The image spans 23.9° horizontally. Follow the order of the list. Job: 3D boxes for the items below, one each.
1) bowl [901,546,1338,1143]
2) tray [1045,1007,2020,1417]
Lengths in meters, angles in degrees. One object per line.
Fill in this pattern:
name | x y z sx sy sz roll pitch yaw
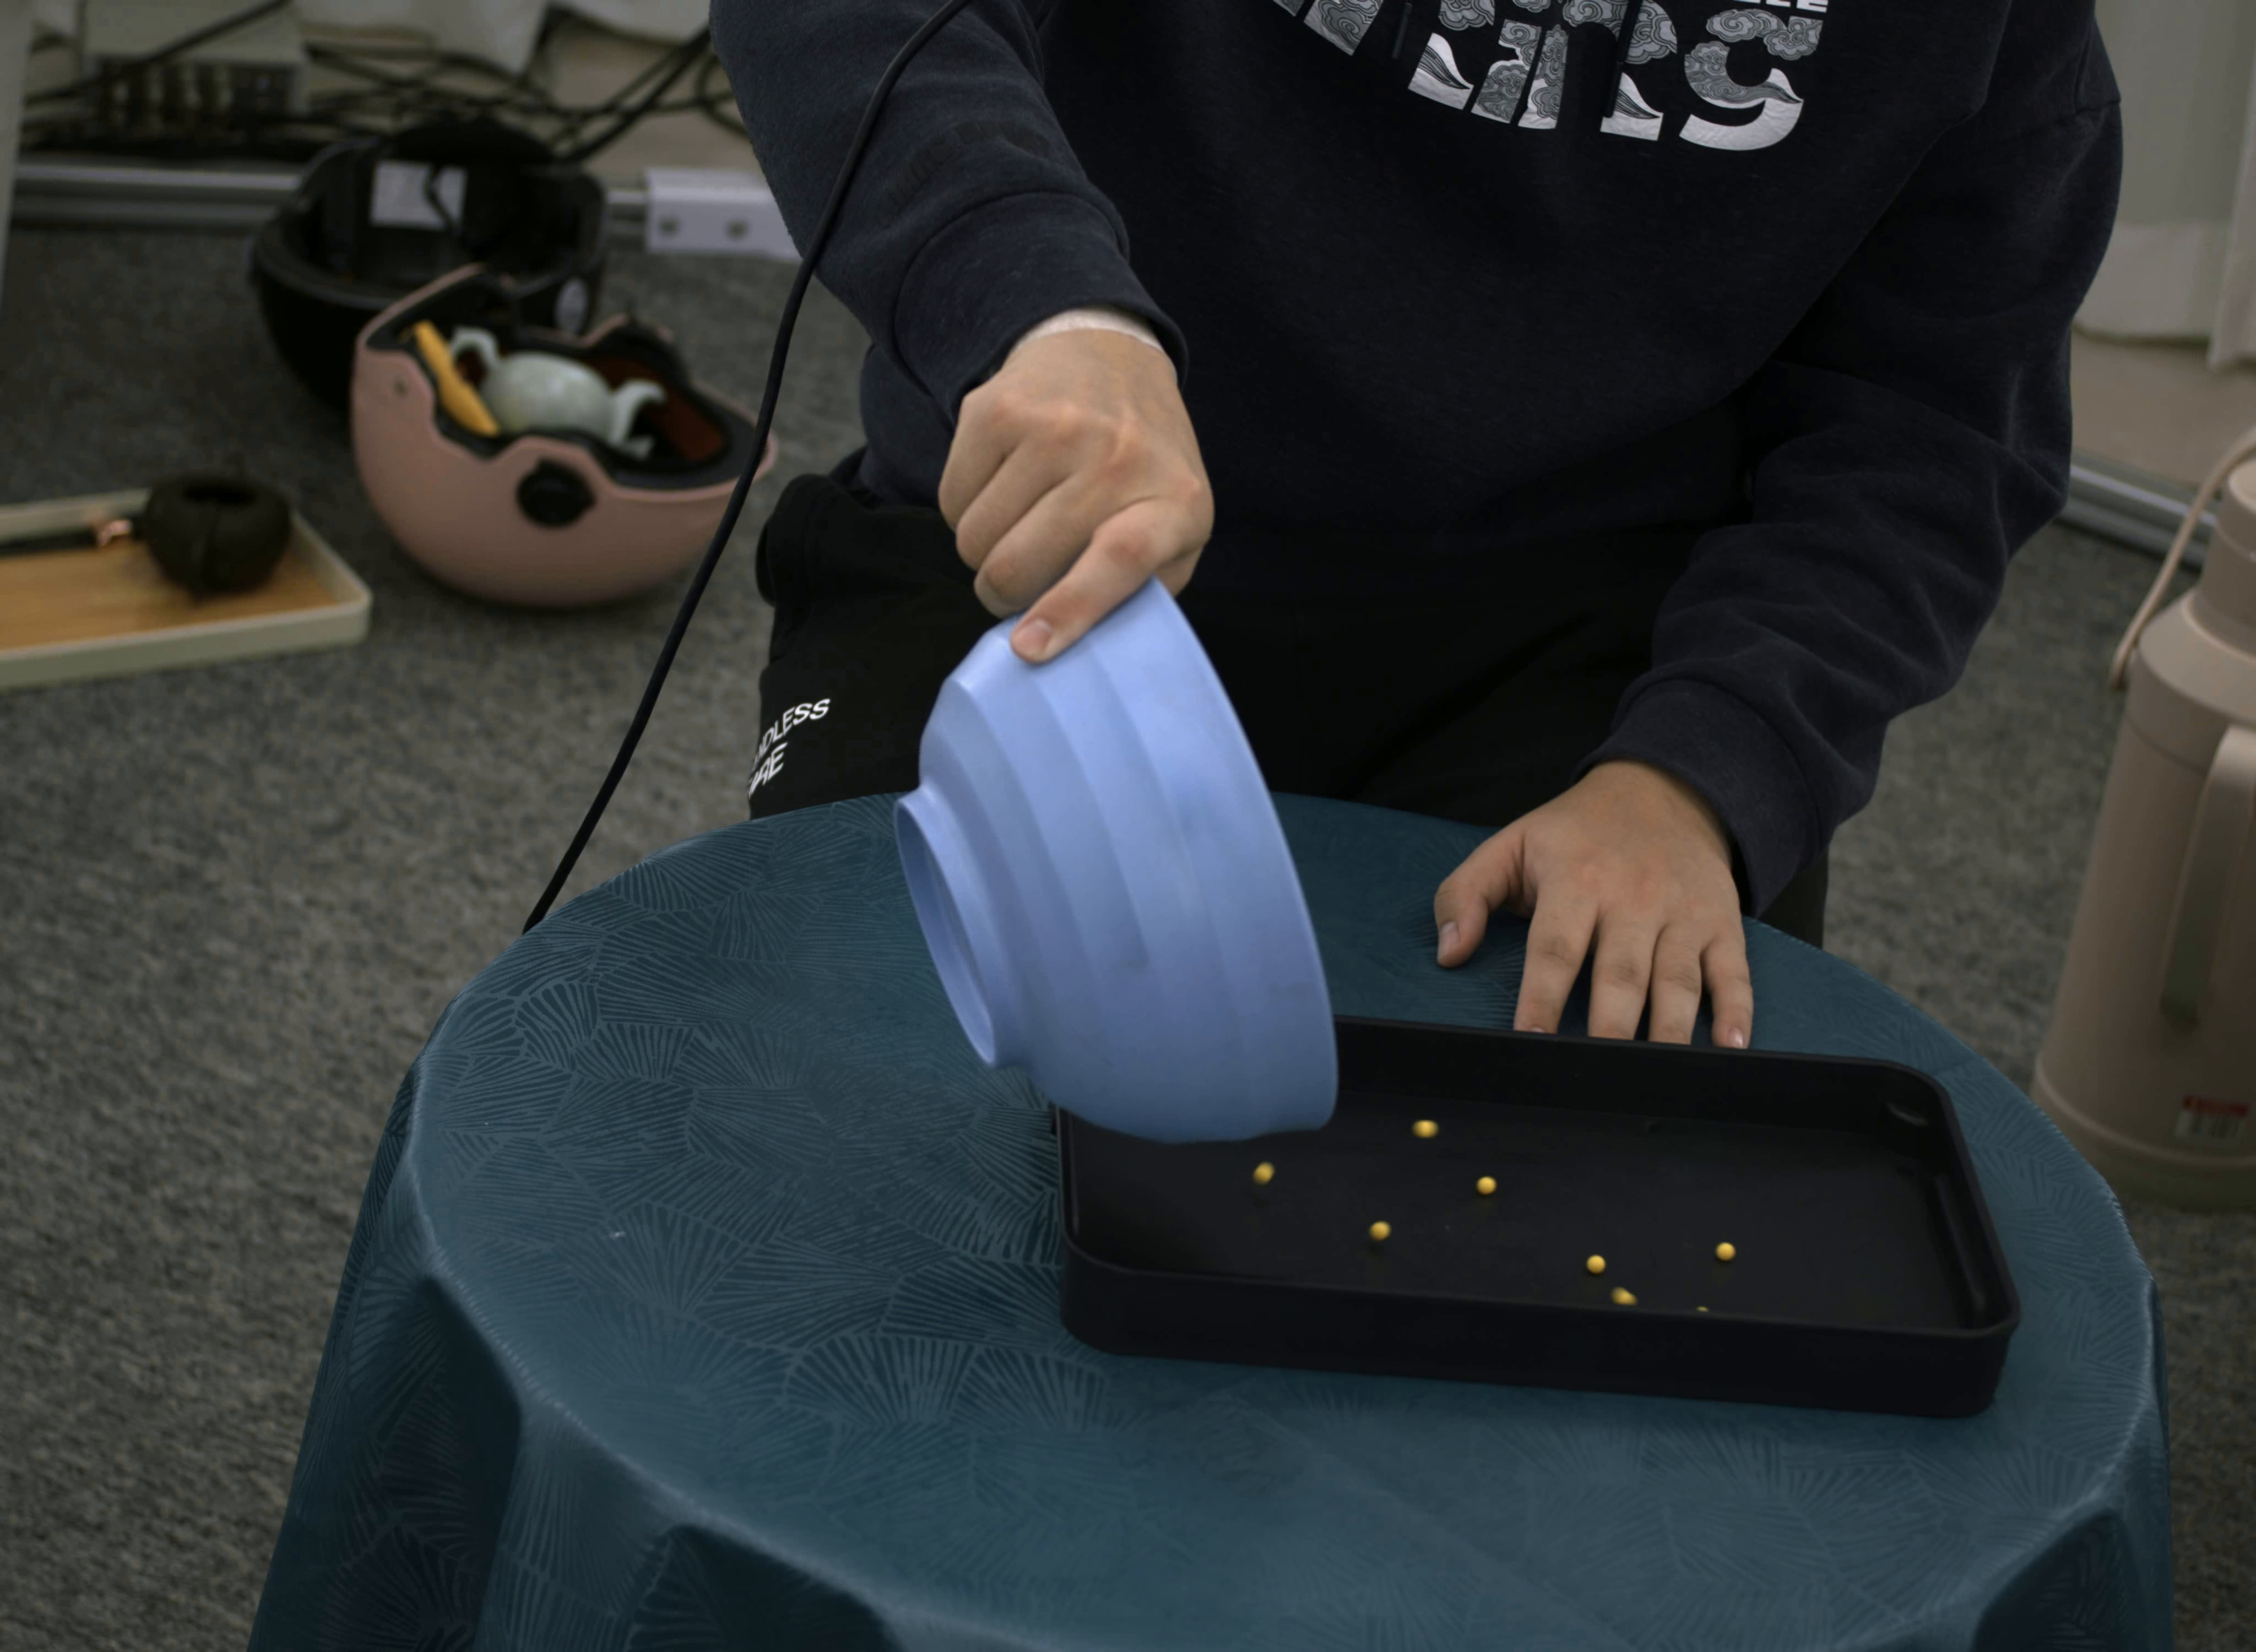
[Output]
bowl | -0.013 0.018 1.692 0.095 0.195 0.198 -19 32 -8
tray | 0.130 0.125 1.792 0.317 0.037 0.185 5 27 -4
